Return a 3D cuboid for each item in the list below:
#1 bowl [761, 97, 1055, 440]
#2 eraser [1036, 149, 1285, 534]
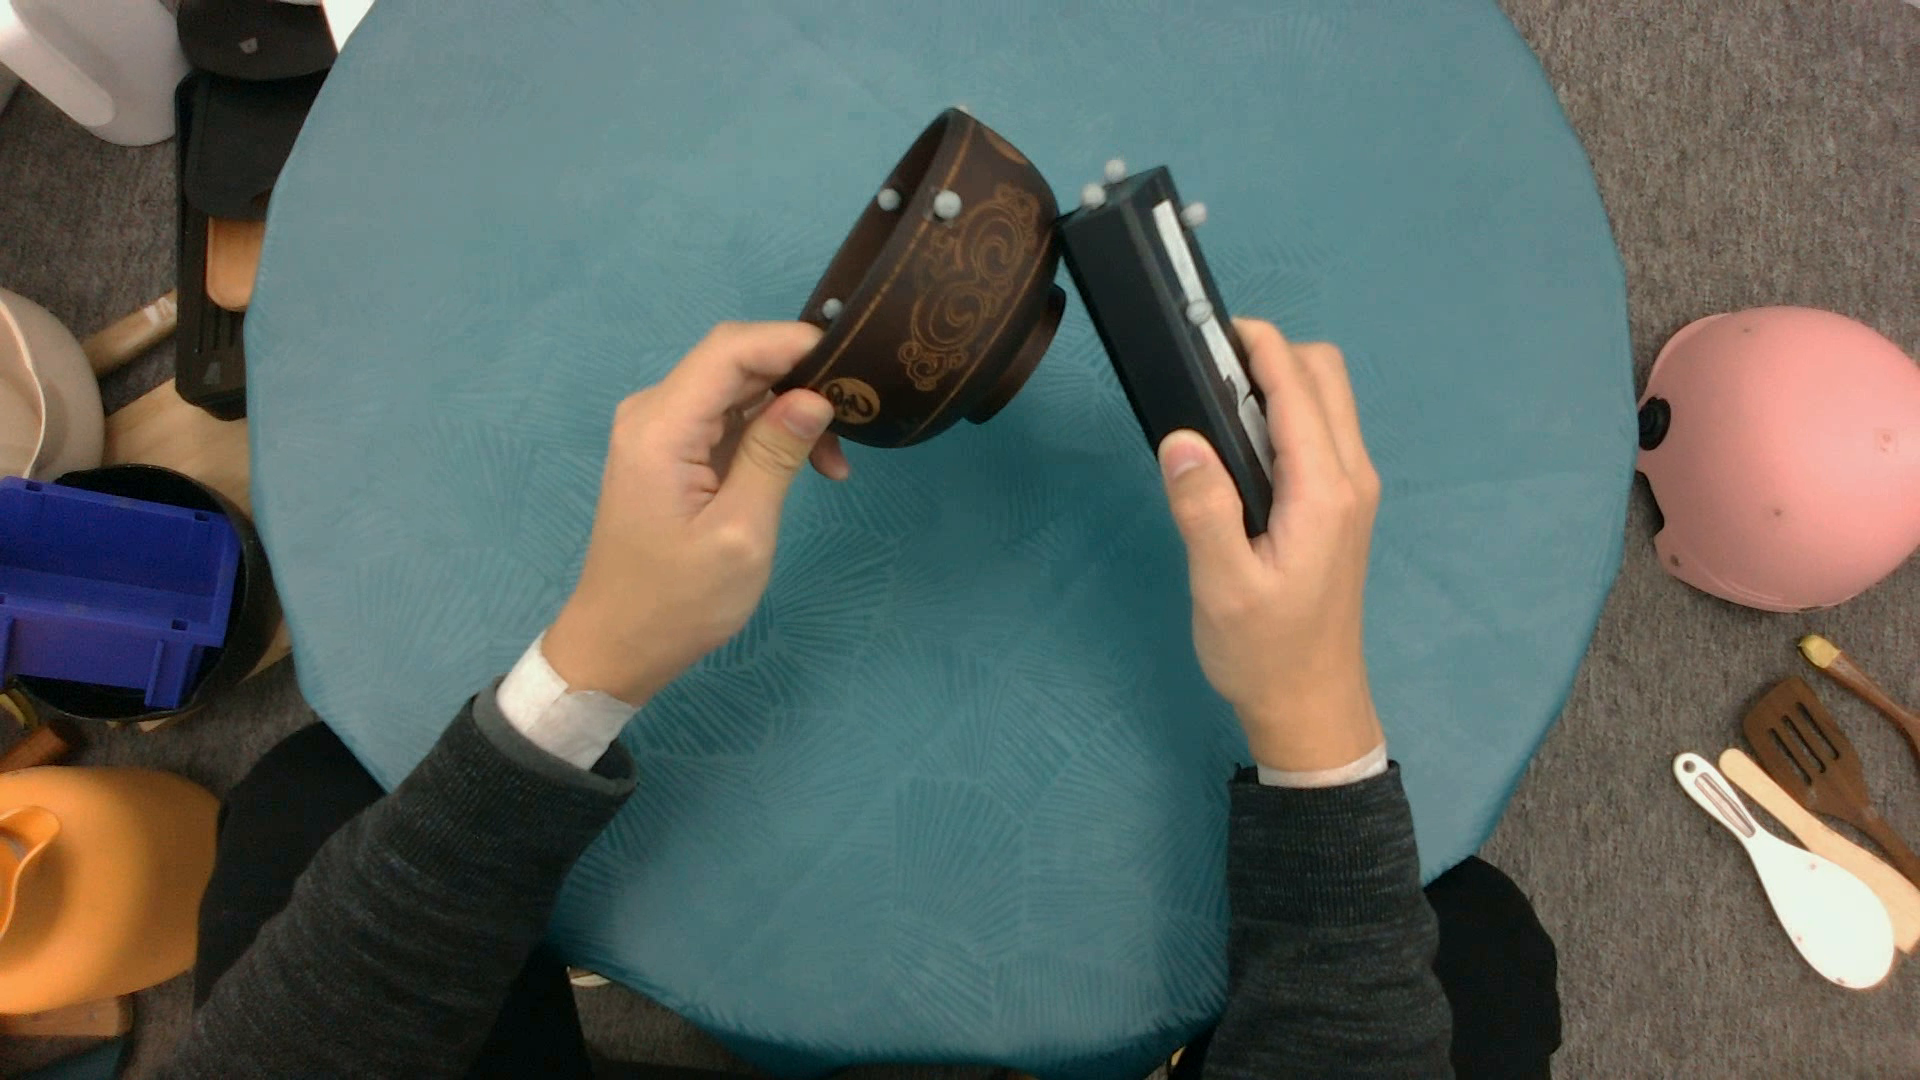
[{"bbox_3d":[-0.011,-0.086,0.481,0.070,0.118,0.118,30,79,-17],"label":"bowl"},{"bbox_3d":[0.071,-0.067,0.474,0.030,0.054,0.125,-17,112,34],"label":"eraser"}]
